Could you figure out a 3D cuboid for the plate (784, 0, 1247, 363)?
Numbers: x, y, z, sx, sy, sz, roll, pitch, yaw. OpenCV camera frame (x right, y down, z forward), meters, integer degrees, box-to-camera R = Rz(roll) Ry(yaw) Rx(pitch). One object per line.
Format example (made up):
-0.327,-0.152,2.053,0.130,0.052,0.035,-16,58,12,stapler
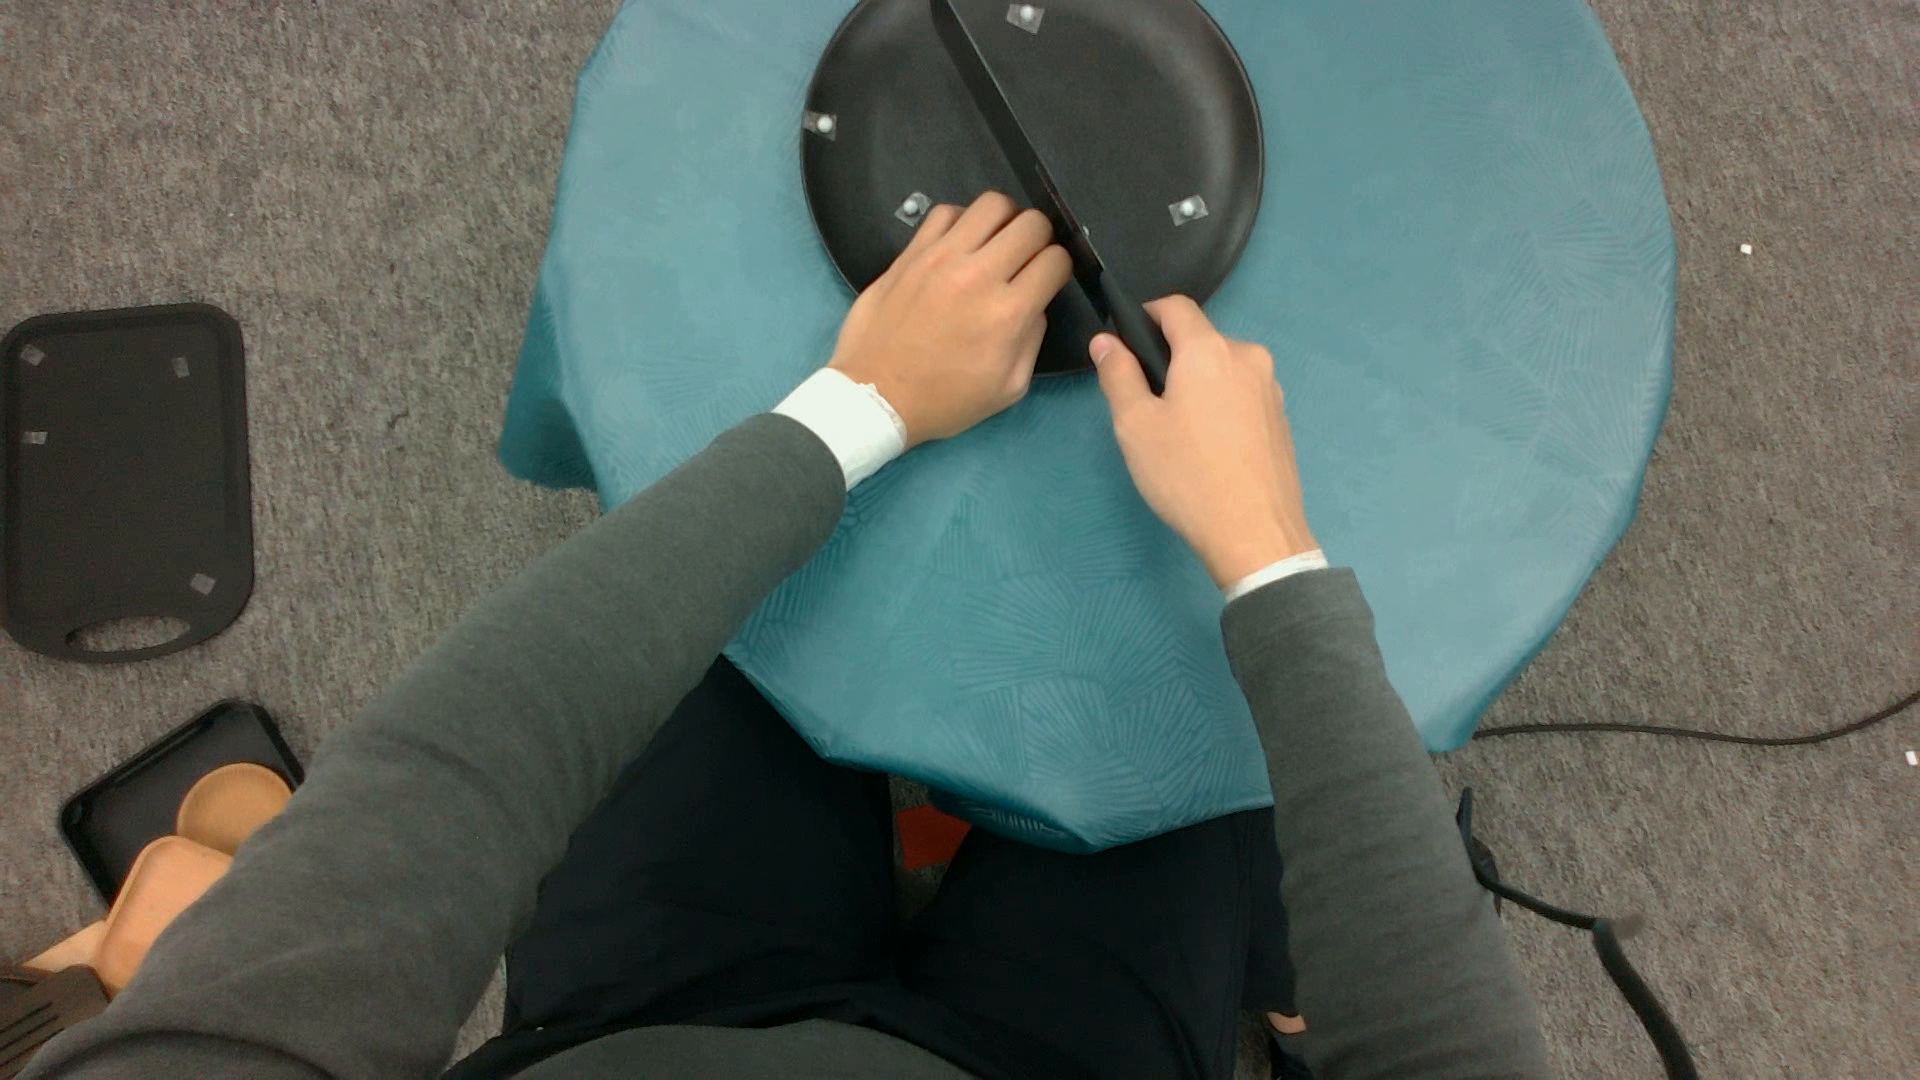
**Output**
0.030,-0.209,0.727,0.244,0.023,0.244,1,80,-3,plate

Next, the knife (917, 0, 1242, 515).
0.052,-0.145,0.668,0.021,0.081,0.302,-29,80,-2,knife
